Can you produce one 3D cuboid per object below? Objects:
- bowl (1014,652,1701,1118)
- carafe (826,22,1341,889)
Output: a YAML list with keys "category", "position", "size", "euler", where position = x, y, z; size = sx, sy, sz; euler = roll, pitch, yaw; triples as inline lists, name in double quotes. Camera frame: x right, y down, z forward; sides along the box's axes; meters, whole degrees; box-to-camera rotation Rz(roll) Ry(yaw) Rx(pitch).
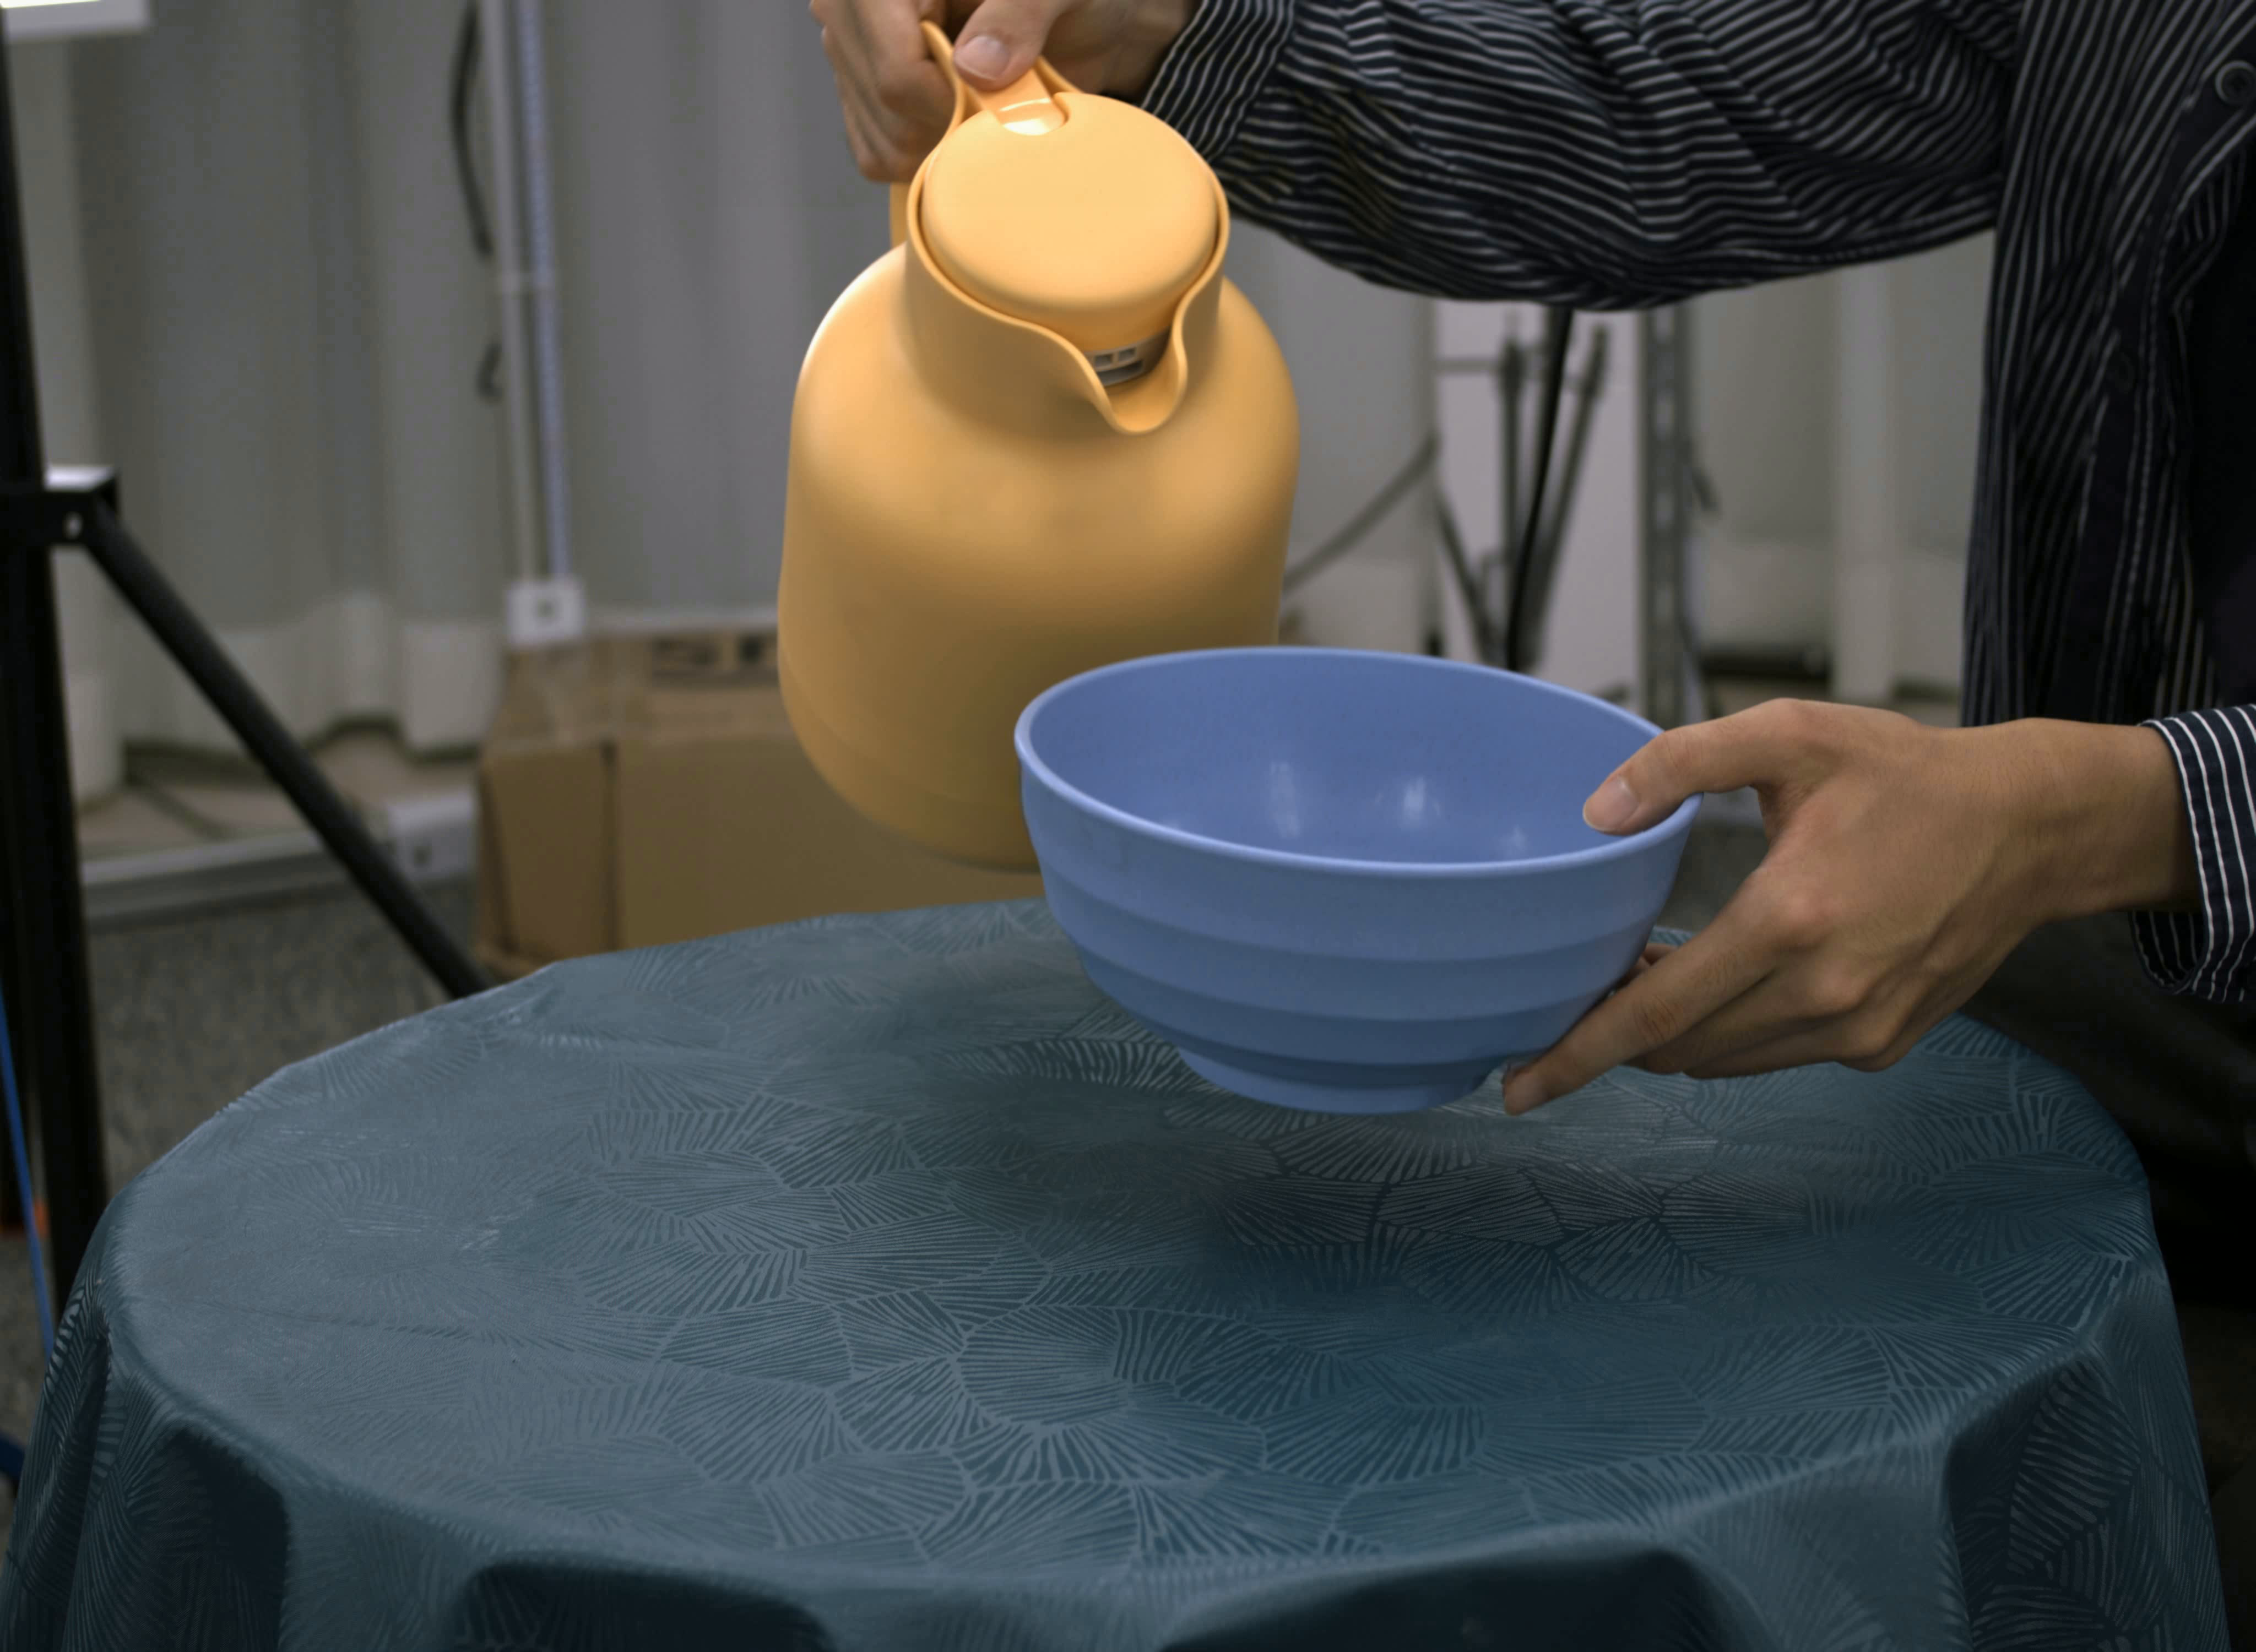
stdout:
- category: "bowl"
  position: [0.062, 0.023, 1.525]
  size: [0.195, 0.095, 0.198]
  euler: [3, 19, -2]
- category: "carafe"
  position: [-0.019, -0.123, 1.693]
  size: [0.161, 0.259, 0.206]
  euler: [-13, 54, -14]
